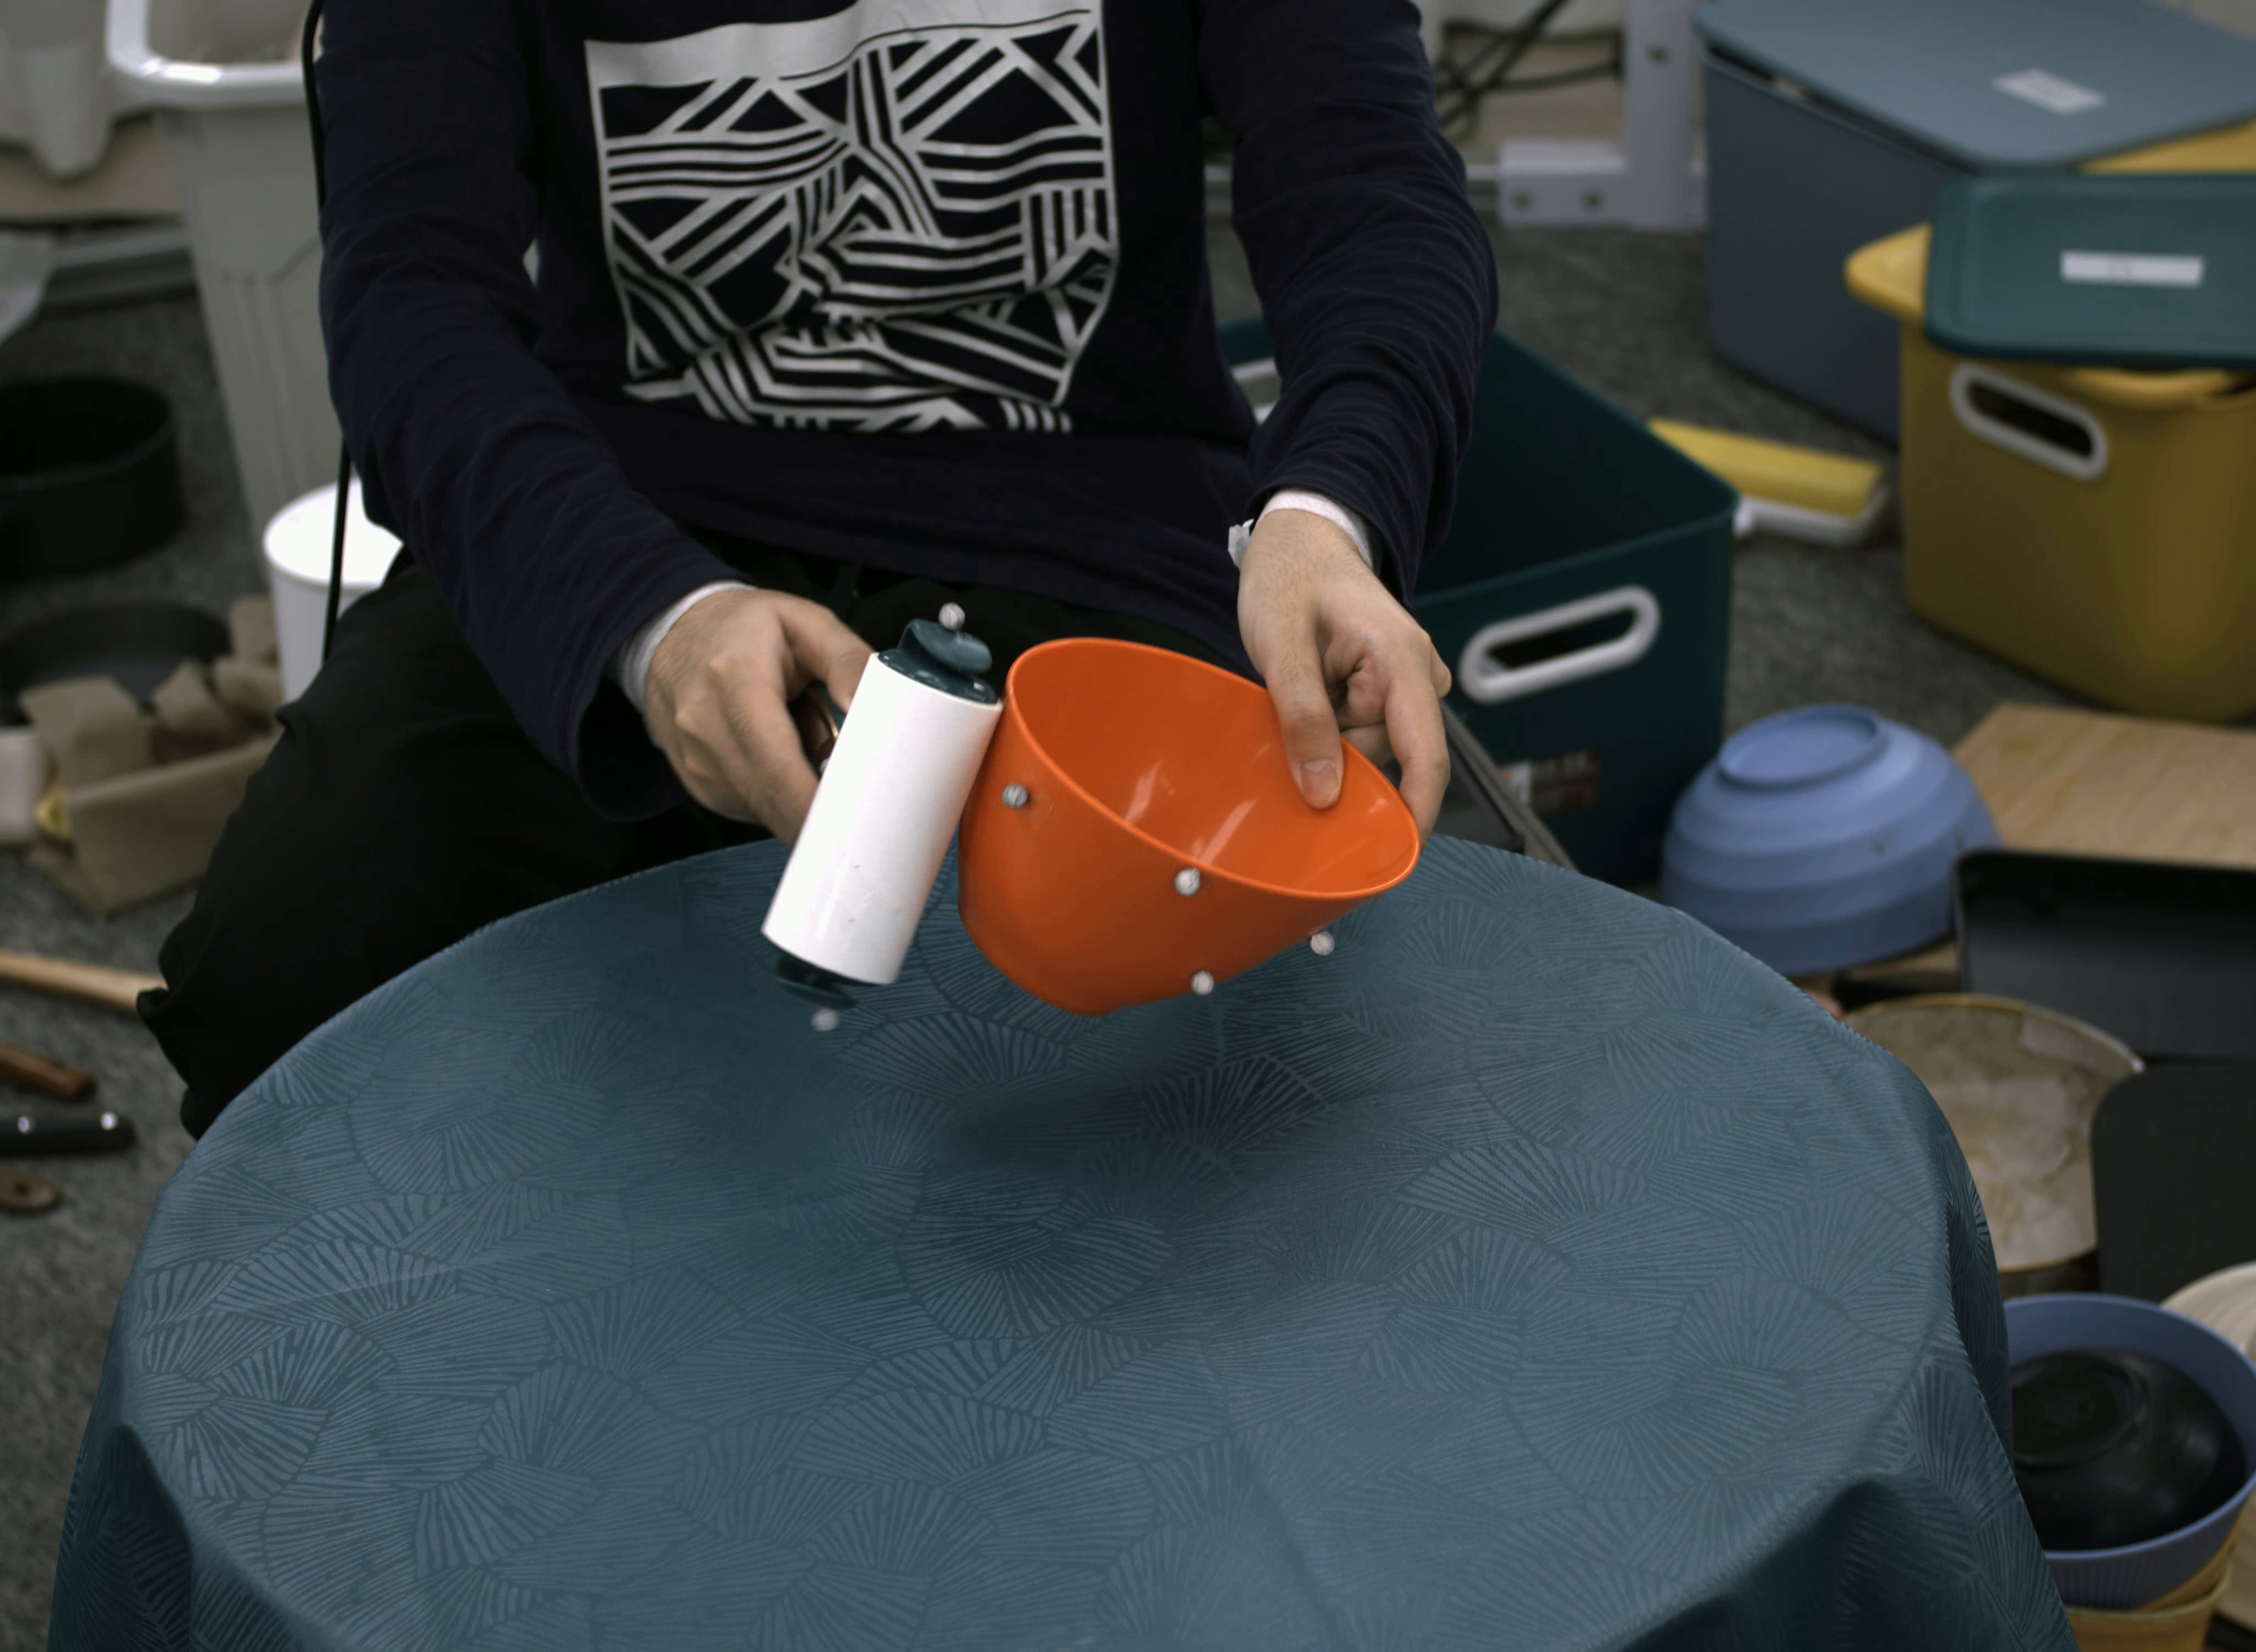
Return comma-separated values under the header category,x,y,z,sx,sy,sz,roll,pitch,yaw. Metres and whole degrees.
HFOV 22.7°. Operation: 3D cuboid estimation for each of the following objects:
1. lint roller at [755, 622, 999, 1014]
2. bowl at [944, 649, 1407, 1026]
category,x,y,z,sx,sy,sz,roll,pitch,yaw
lint roller,-0.104,-0.020,1.901,0.048,0.134,0.181,20,7,-25
bowl,0.003,0.013,1.873,0.147,0.103,0.150,30,23,-13
